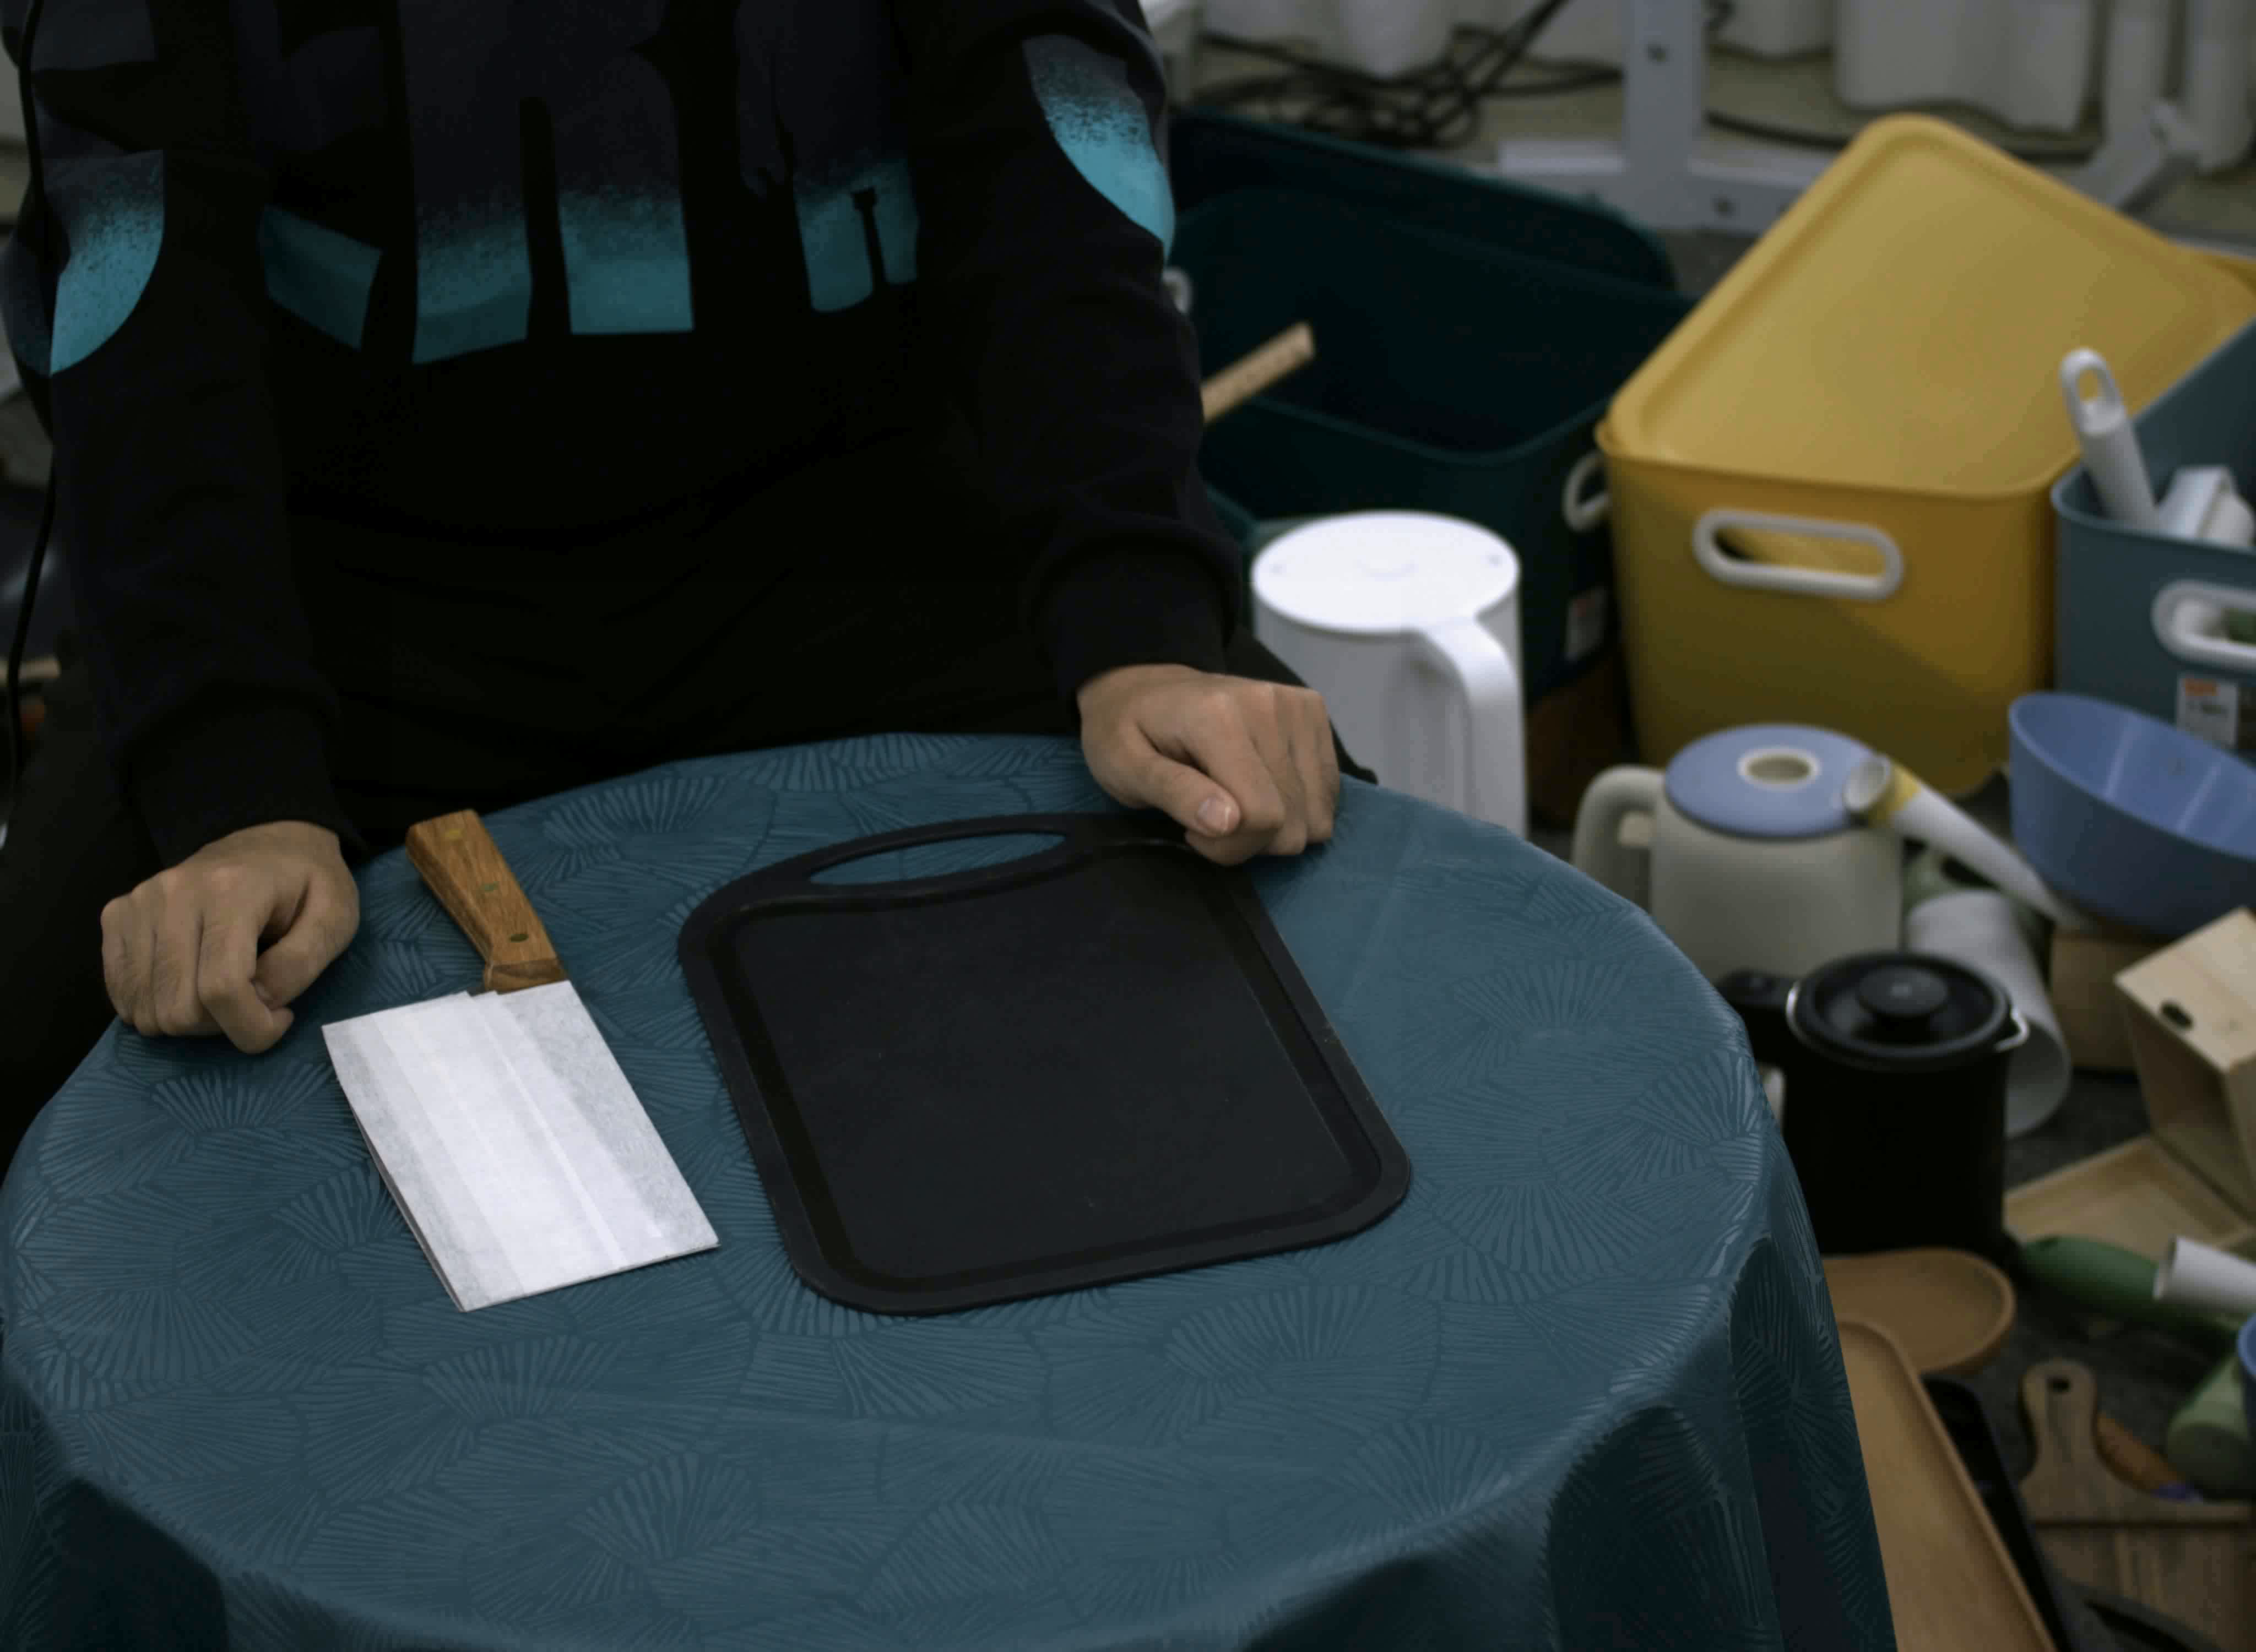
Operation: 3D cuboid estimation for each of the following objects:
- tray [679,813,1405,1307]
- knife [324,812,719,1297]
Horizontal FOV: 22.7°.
[{"bbox_3d":[-0.038,0.072,1.953,0.211,0.009,0.329,-9,28,-11],"label":"tray"},{"bbox_3d":[-0.227,0.078,1.952,0.093,0.021,0.308,-13,31,-16],"label":"knife"}]
